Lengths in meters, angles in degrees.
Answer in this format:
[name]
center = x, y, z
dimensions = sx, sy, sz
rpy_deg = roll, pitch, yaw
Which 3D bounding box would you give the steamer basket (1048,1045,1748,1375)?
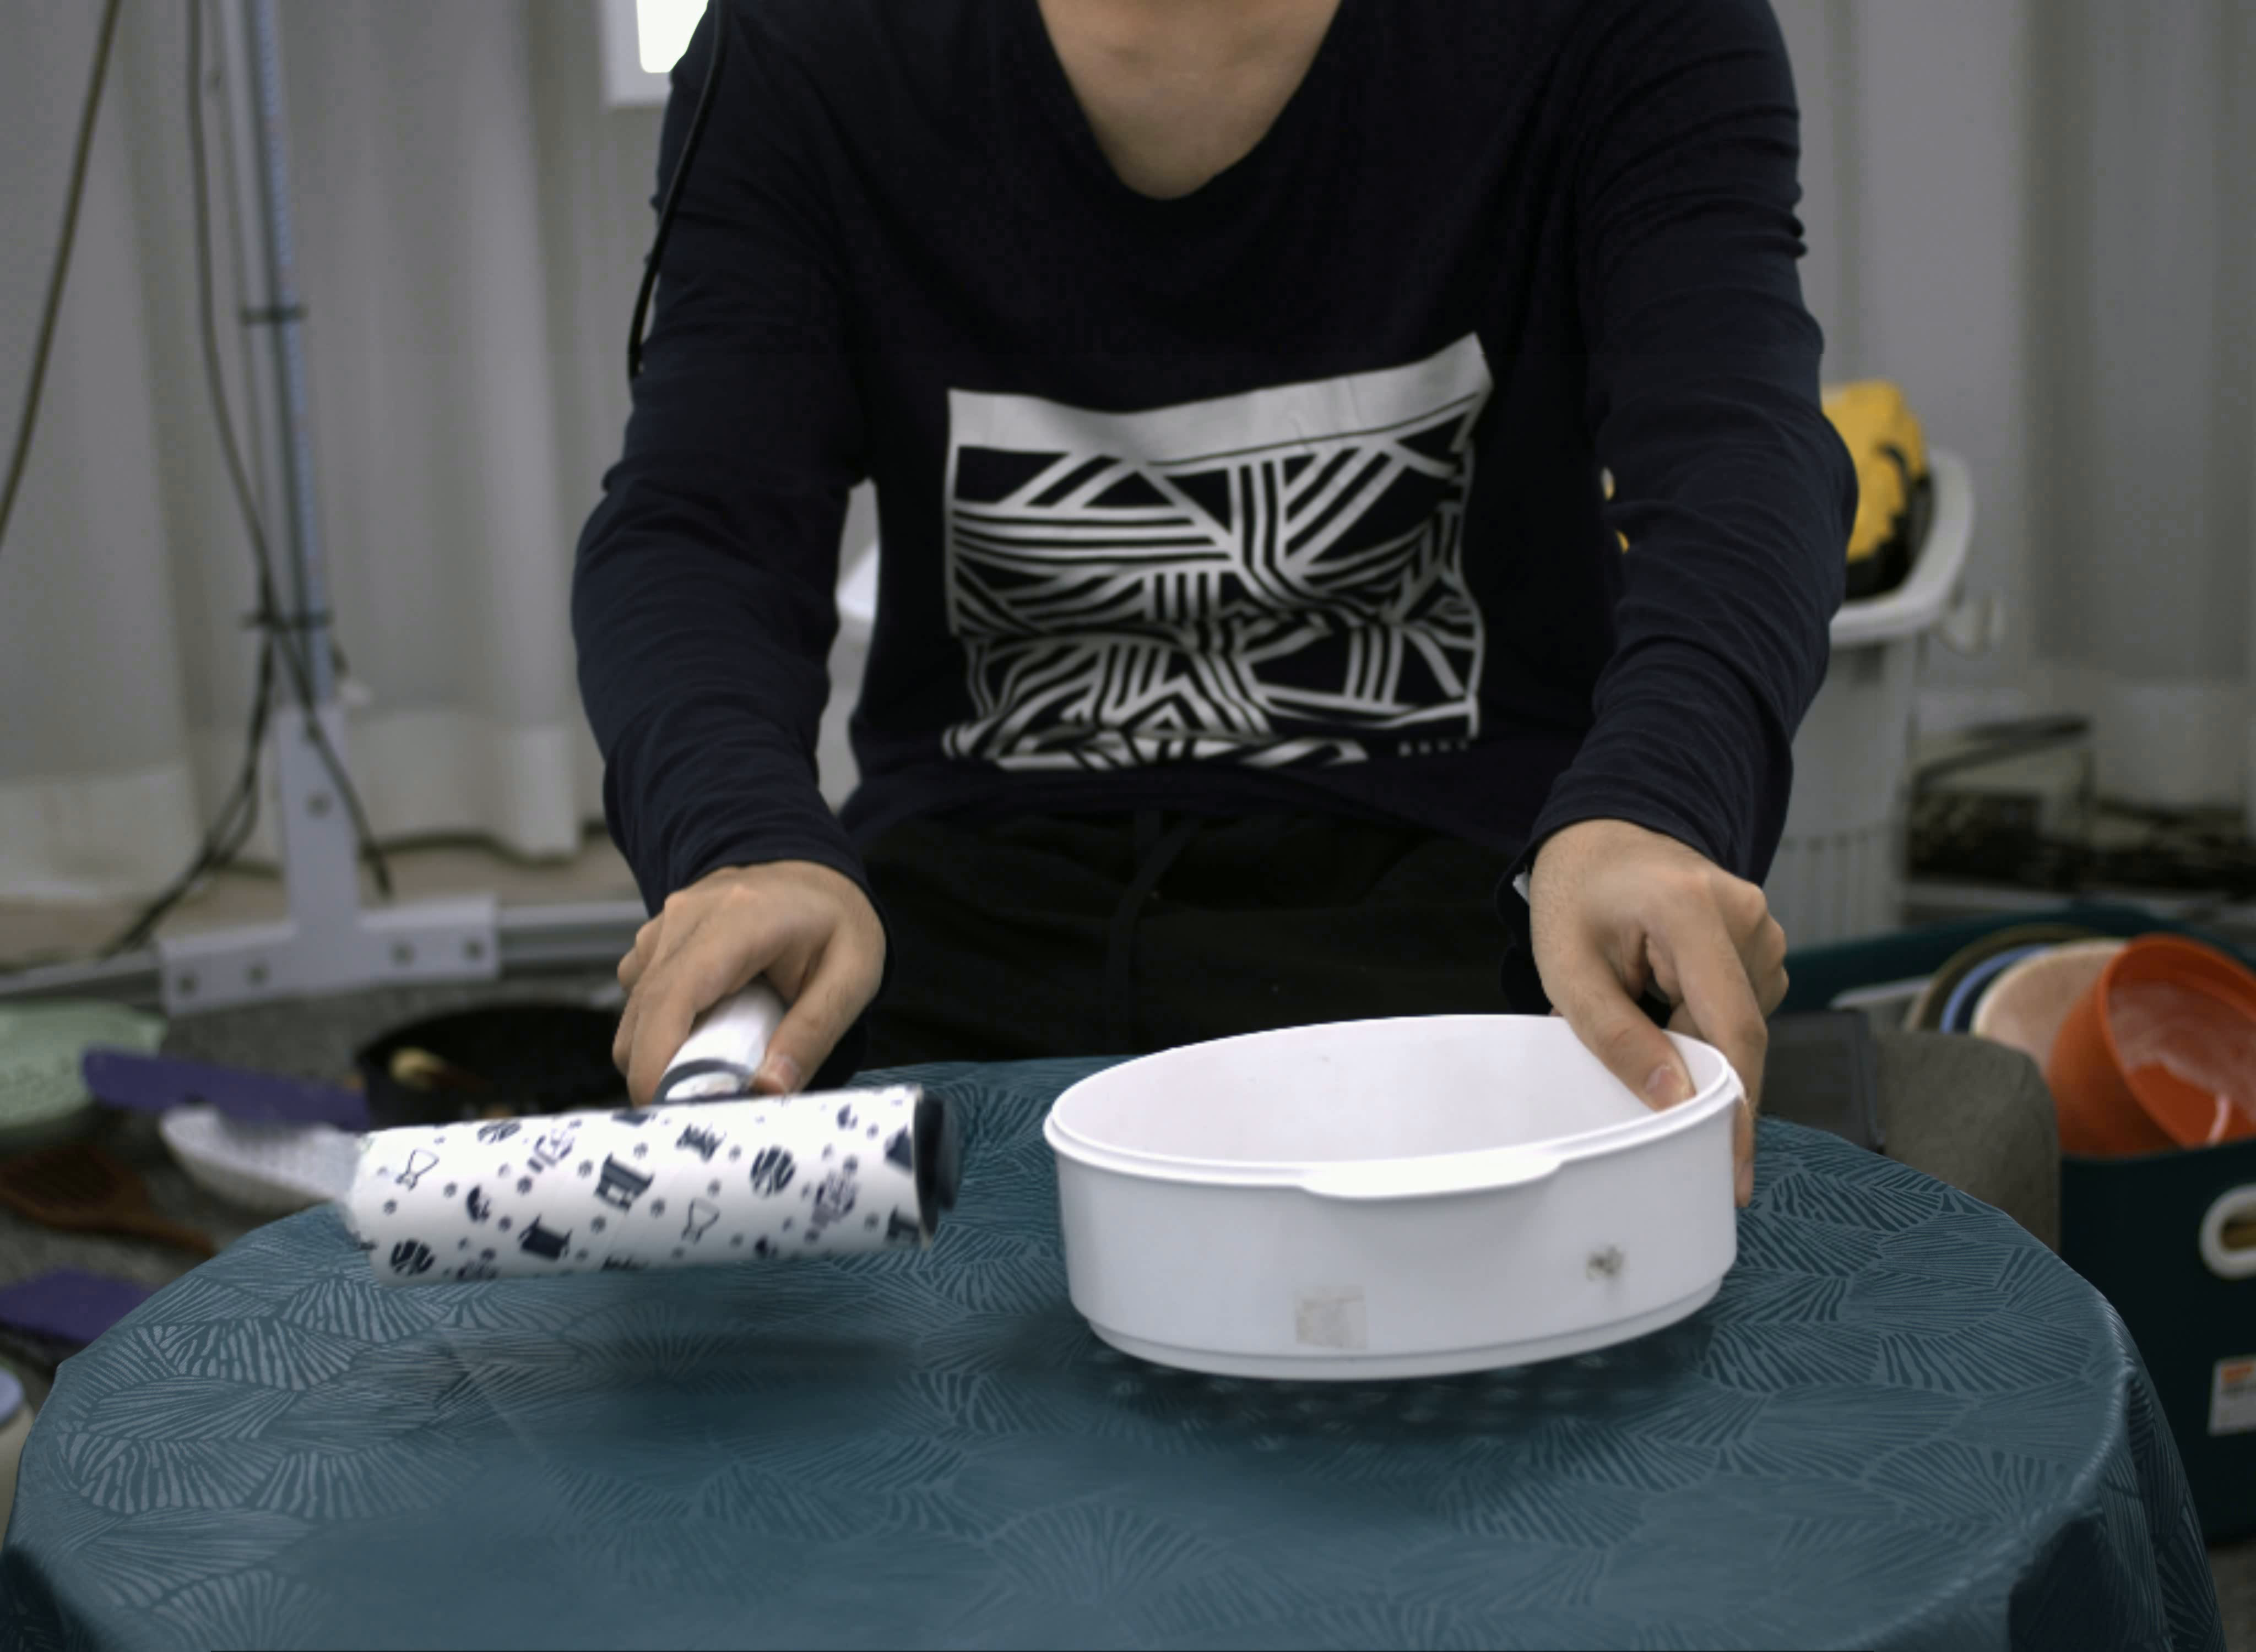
[steamer basket]
center = 0.079, 0.110, 1.571
dimensions = 0.201, 0.069, 0.231
rpy_deg = -5, 5, -2

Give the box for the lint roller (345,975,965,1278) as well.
[lint roller]
center = -0.131, 0.077, 1.669
dimensions = 0.176, 0.050, 0.248
rpy_deg = -7, 12, 4
